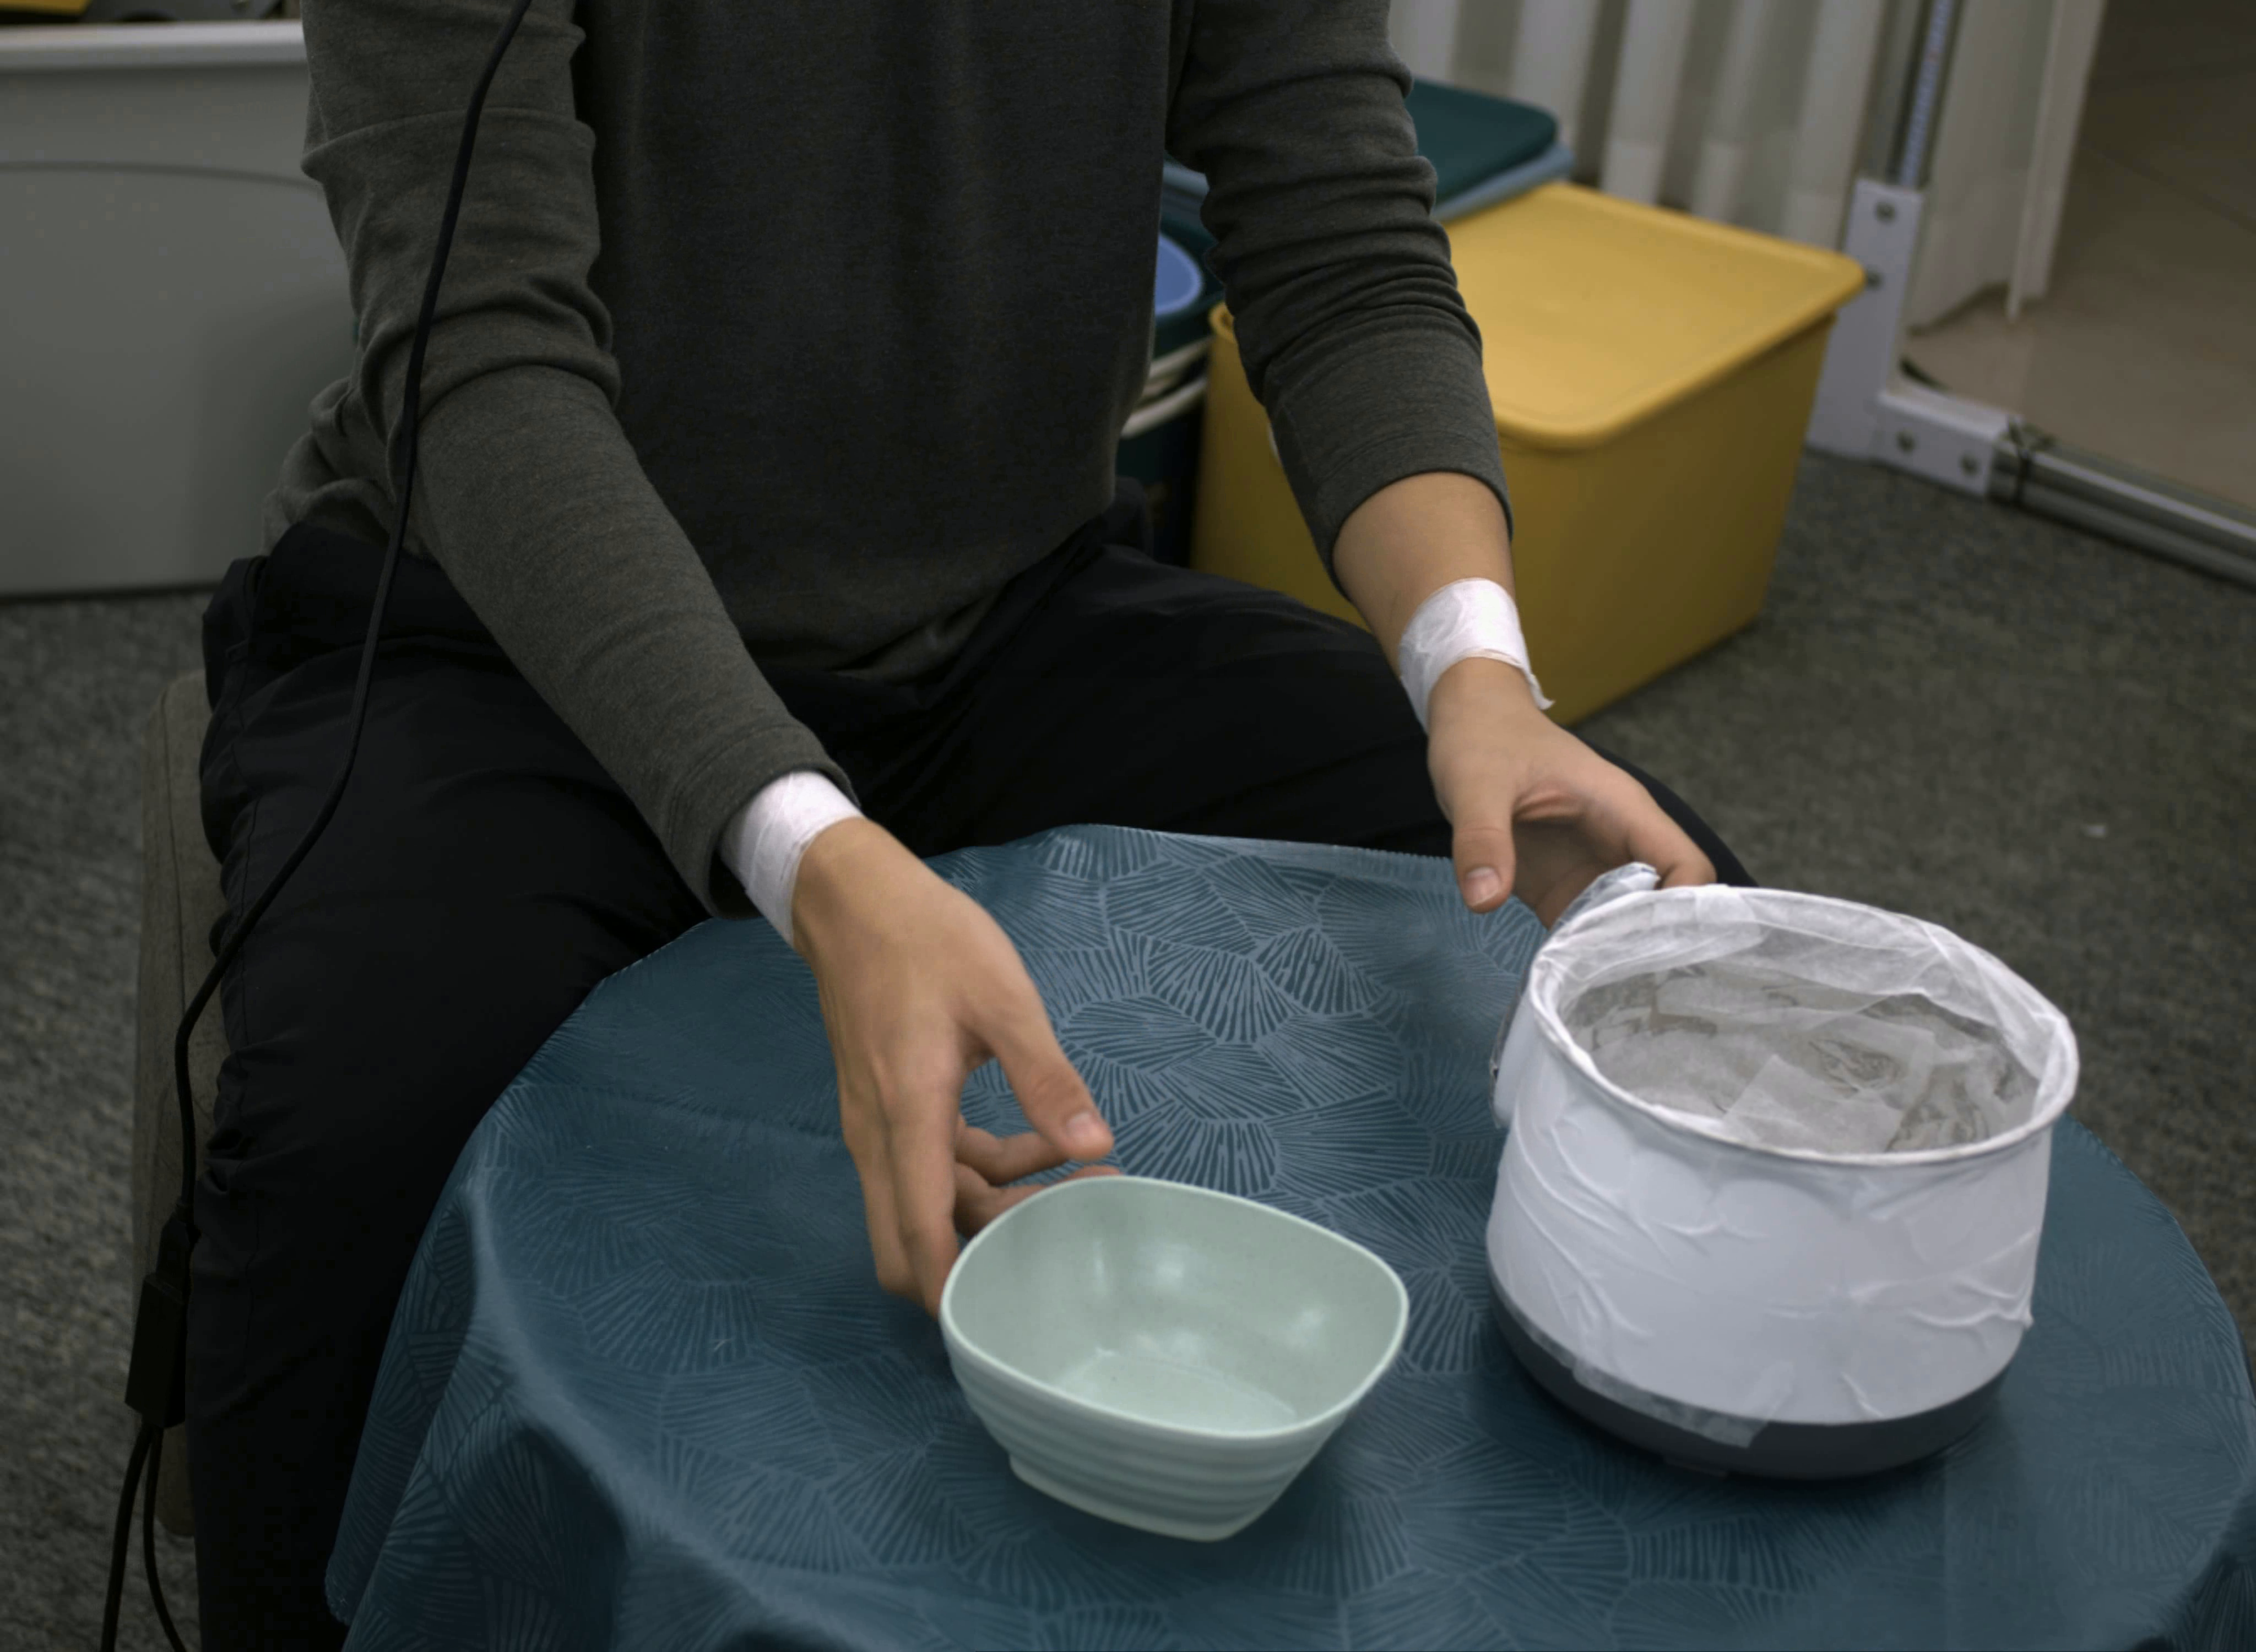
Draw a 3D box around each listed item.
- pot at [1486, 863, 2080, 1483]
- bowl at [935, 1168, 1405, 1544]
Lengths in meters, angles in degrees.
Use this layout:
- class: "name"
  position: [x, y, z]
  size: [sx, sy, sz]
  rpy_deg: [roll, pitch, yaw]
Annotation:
- class: "pot"
  position: [0.194, 0.105, 1.738]
  size: [0.177, 0.136, 0.236]
  rpy_deg: [-9, 30, -28]
- class: "bowl"
  position: [0.010, 0.171, 1.652]
  size: [0.151, 0.058, 0.152]
  rpy_deg: [6, 28, -4]
